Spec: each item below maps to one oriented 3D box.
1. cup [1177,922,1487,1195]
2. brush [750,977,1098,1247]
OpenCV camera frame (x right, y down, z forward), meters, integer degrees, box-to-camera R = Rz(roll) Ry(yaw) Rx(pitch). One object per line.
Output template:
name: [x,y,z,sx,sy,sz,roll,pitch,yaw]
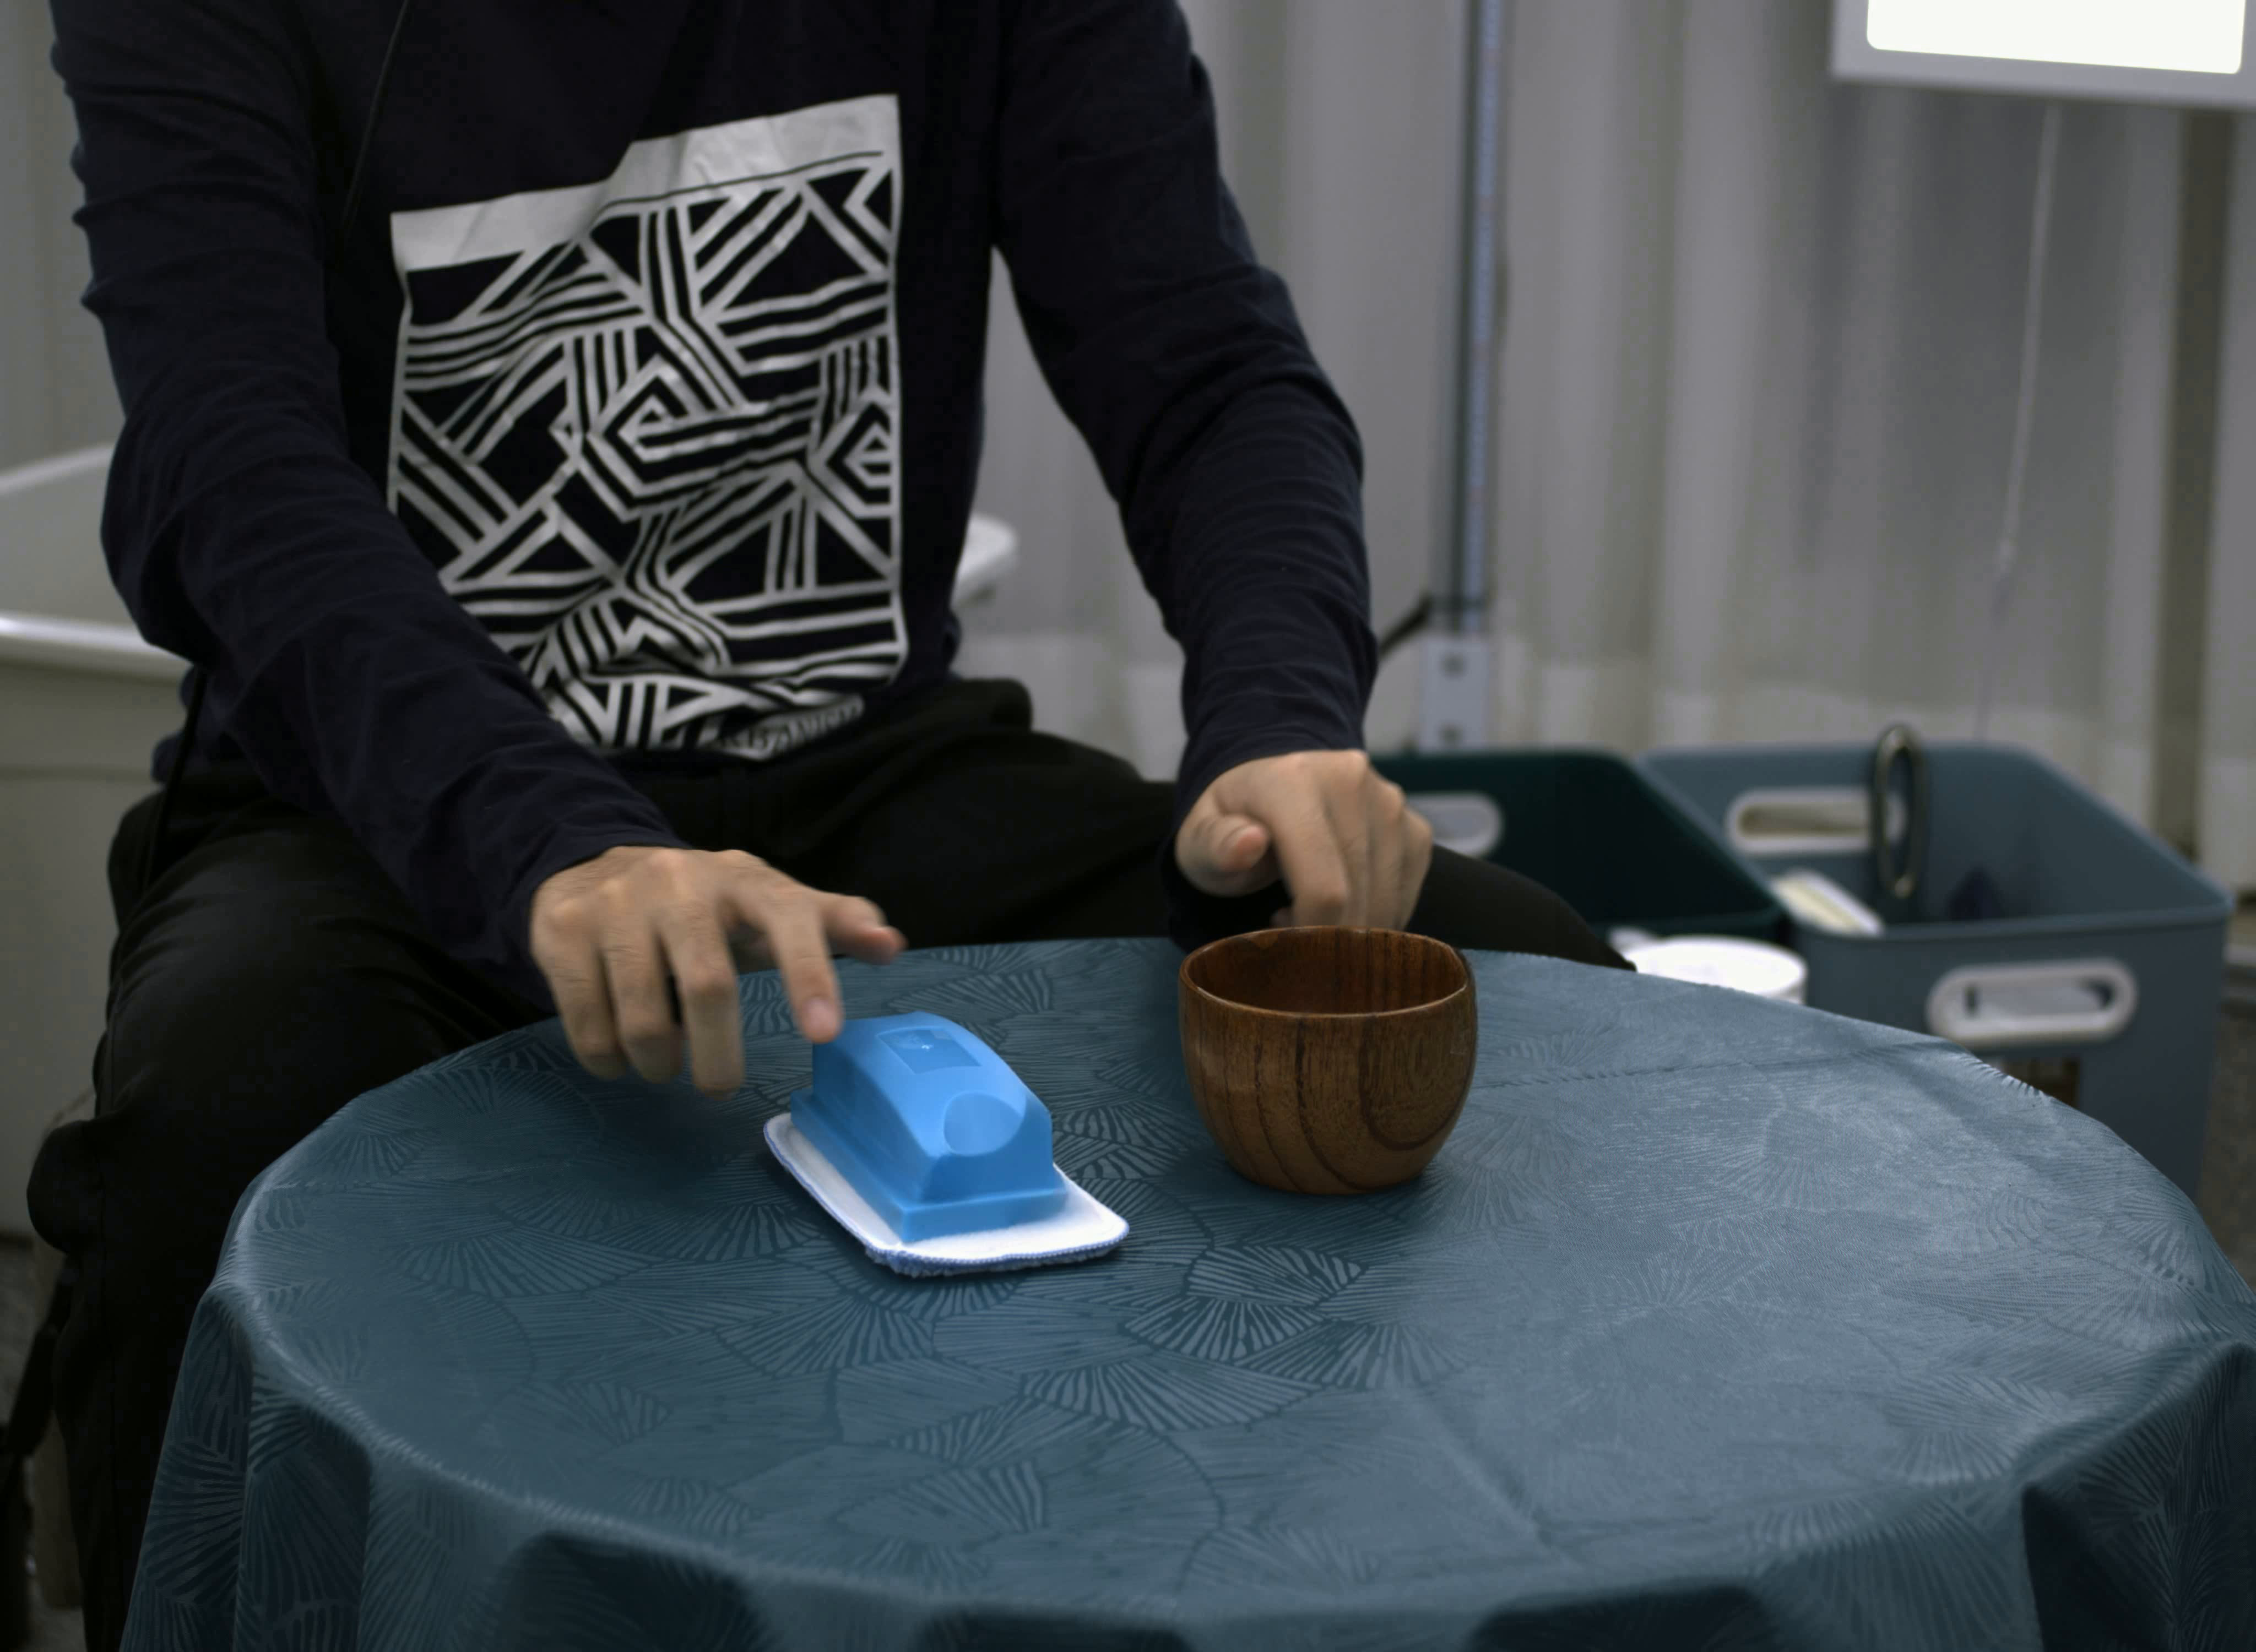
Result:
cup: [0.060,0.071,1.653,0.096,0.068,0.118,-12,17,-27]
brush: [-0.061,0.085,1.609,0.084,0.056,0.142,-1,18,-19]
